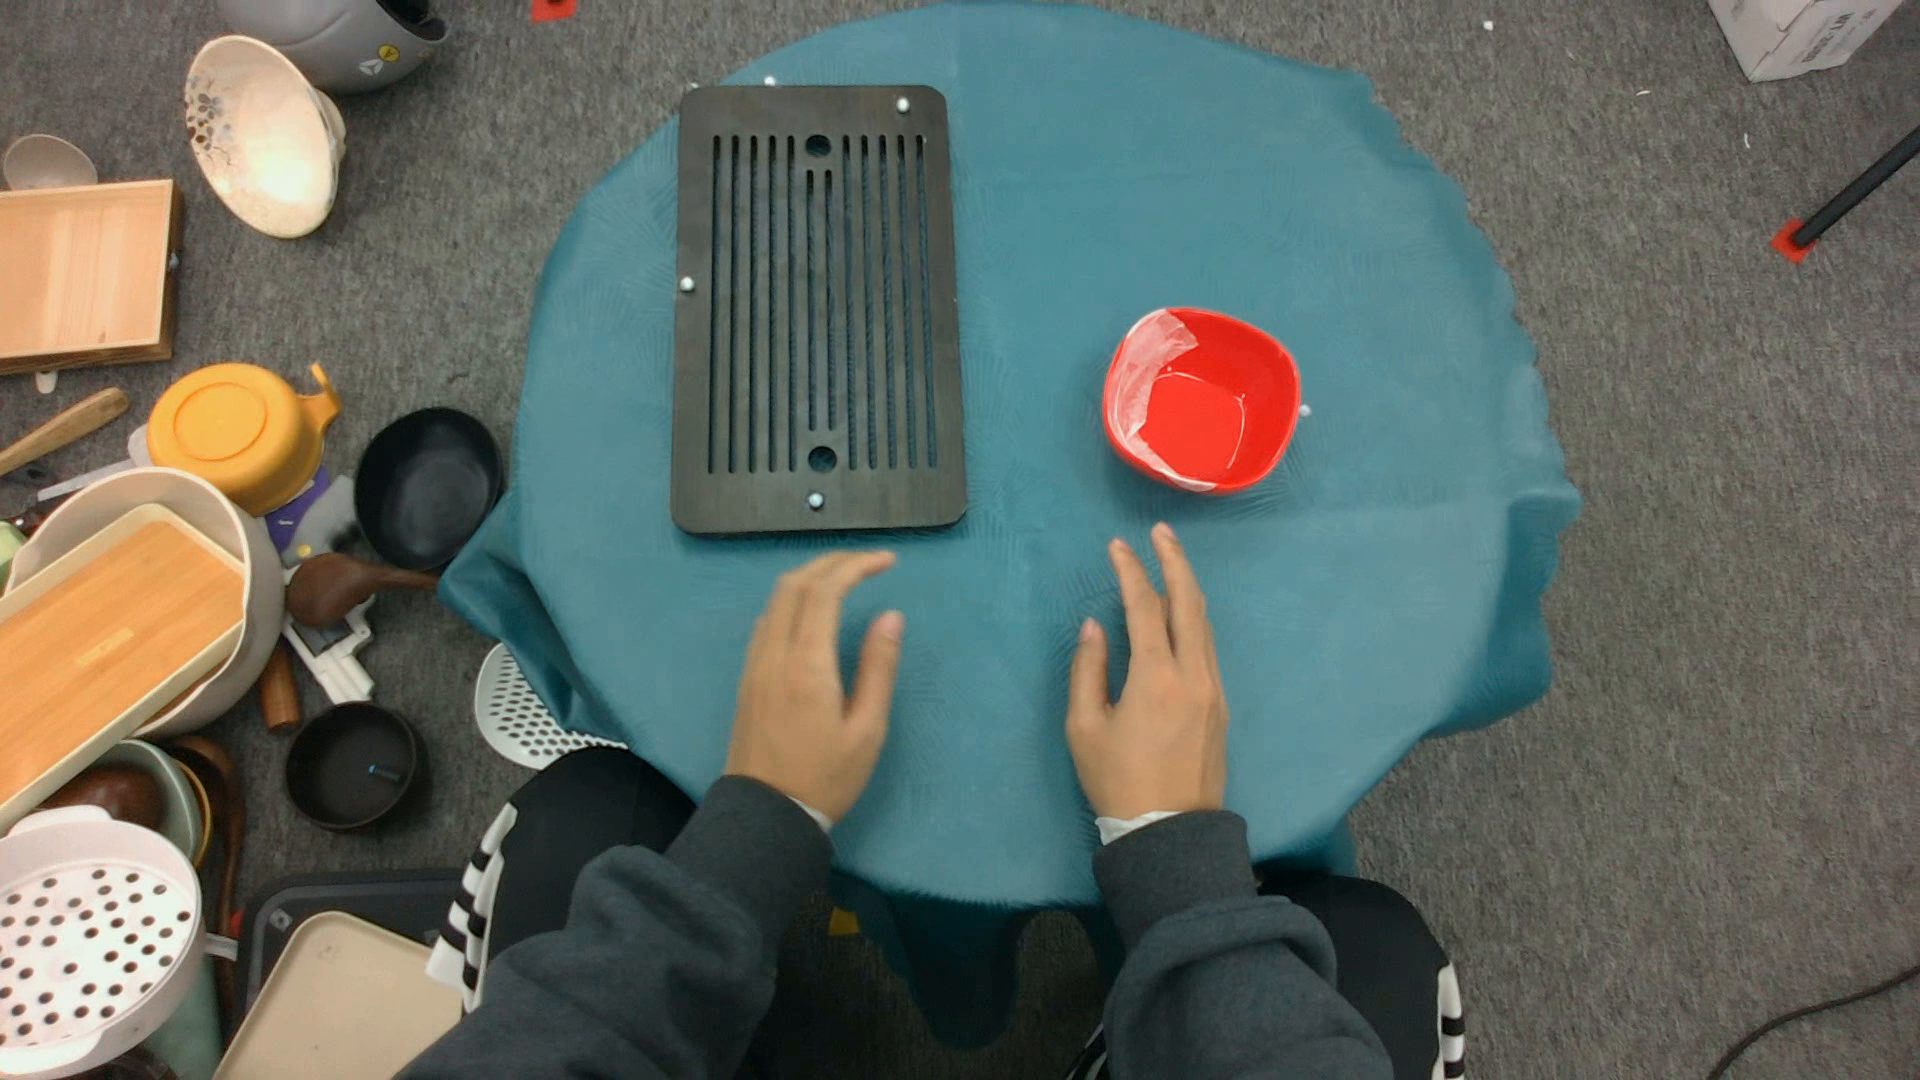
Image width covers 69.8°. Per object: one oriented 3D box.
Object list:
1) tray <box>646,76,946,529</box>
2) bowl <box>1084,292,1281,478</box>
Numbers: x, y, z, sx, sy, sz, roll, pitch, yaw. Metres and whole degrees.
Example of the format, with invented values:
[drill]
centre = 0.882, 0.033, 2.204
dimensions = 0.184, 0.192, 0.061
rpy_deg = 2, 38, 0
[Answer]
[tray]
centre = -0.102, -0.151, 0.834
dimensions = 0.170, 0.018, 0.307
rpy_deg = -2, 69, -4
[bowl]
centre = 0.125, -0.082, 0.802
dimensions = 0.119, 0.051, 0.119
rpy_deg = 2, 68, -4
